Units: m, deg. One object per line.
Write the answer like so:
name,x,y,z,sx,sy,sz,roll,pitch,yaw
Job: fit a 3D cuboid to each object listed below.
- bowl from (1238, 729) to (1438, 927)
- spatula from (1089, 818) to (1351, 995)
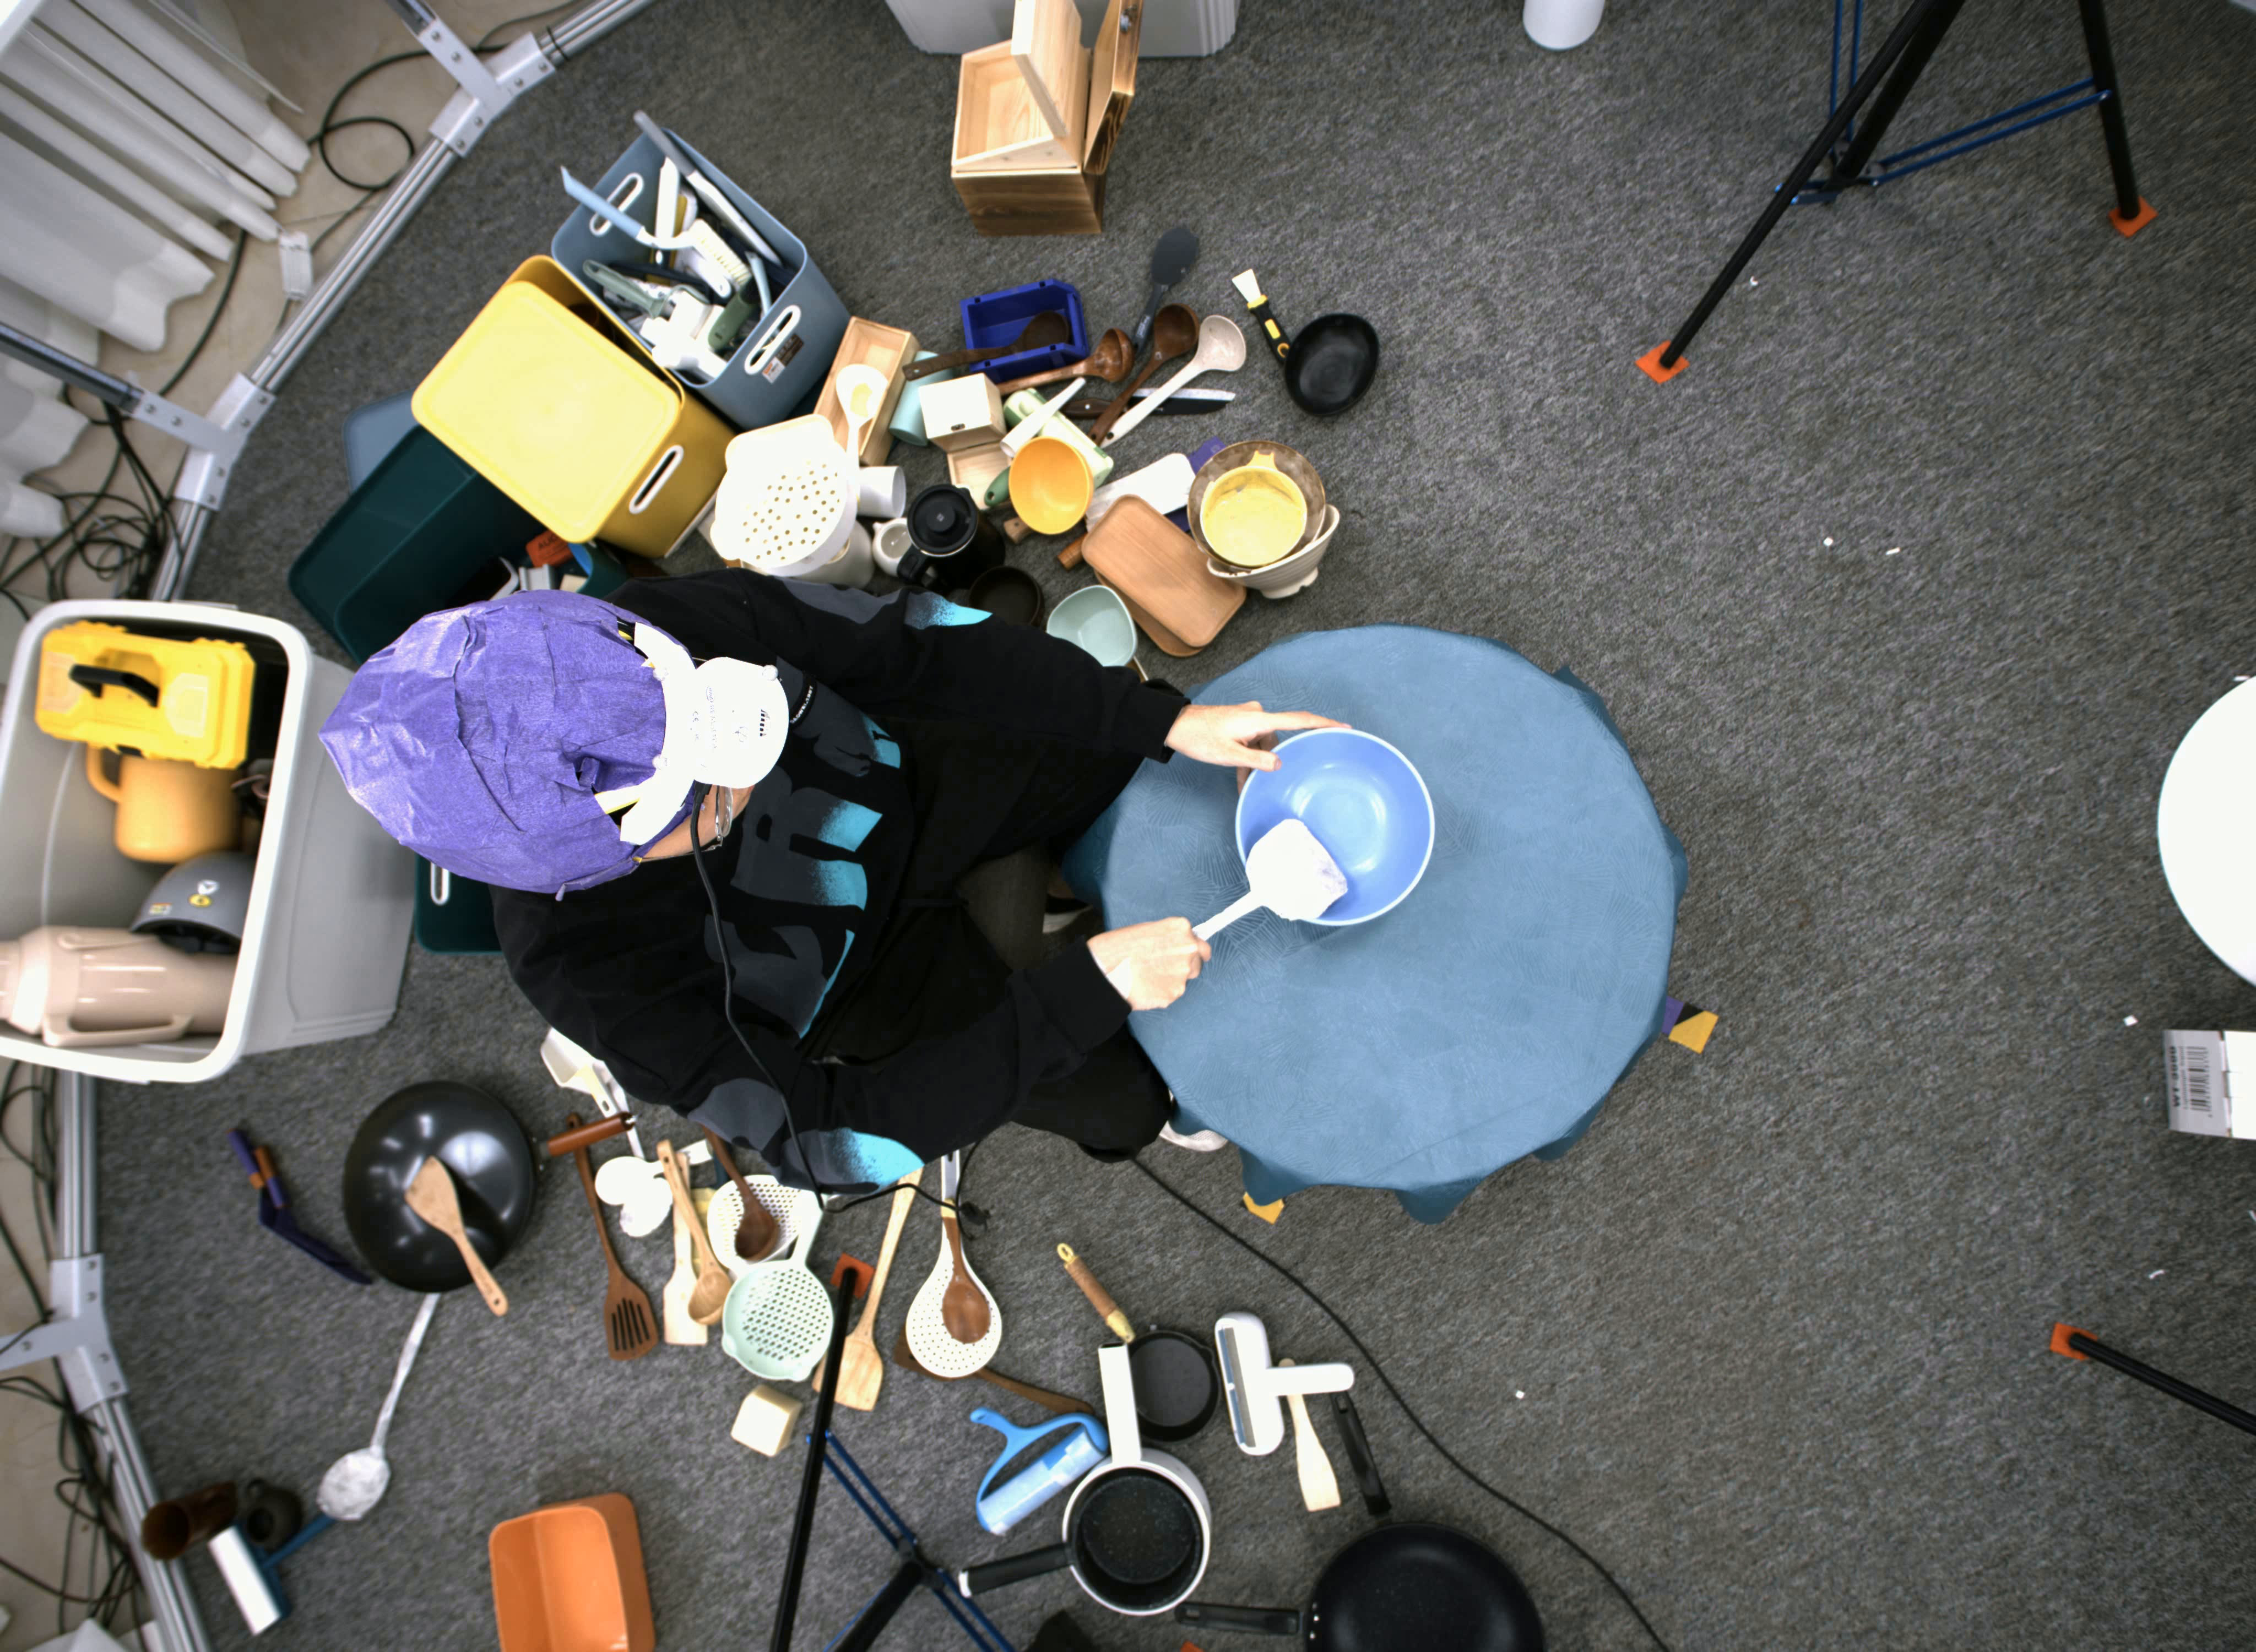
bowl,0.215,-0.001,1.410,0.197,0.094,0.197,1,96,11
spatula,0.091,0.083,1.296,0.098,0.358,0.046,54,130,9
